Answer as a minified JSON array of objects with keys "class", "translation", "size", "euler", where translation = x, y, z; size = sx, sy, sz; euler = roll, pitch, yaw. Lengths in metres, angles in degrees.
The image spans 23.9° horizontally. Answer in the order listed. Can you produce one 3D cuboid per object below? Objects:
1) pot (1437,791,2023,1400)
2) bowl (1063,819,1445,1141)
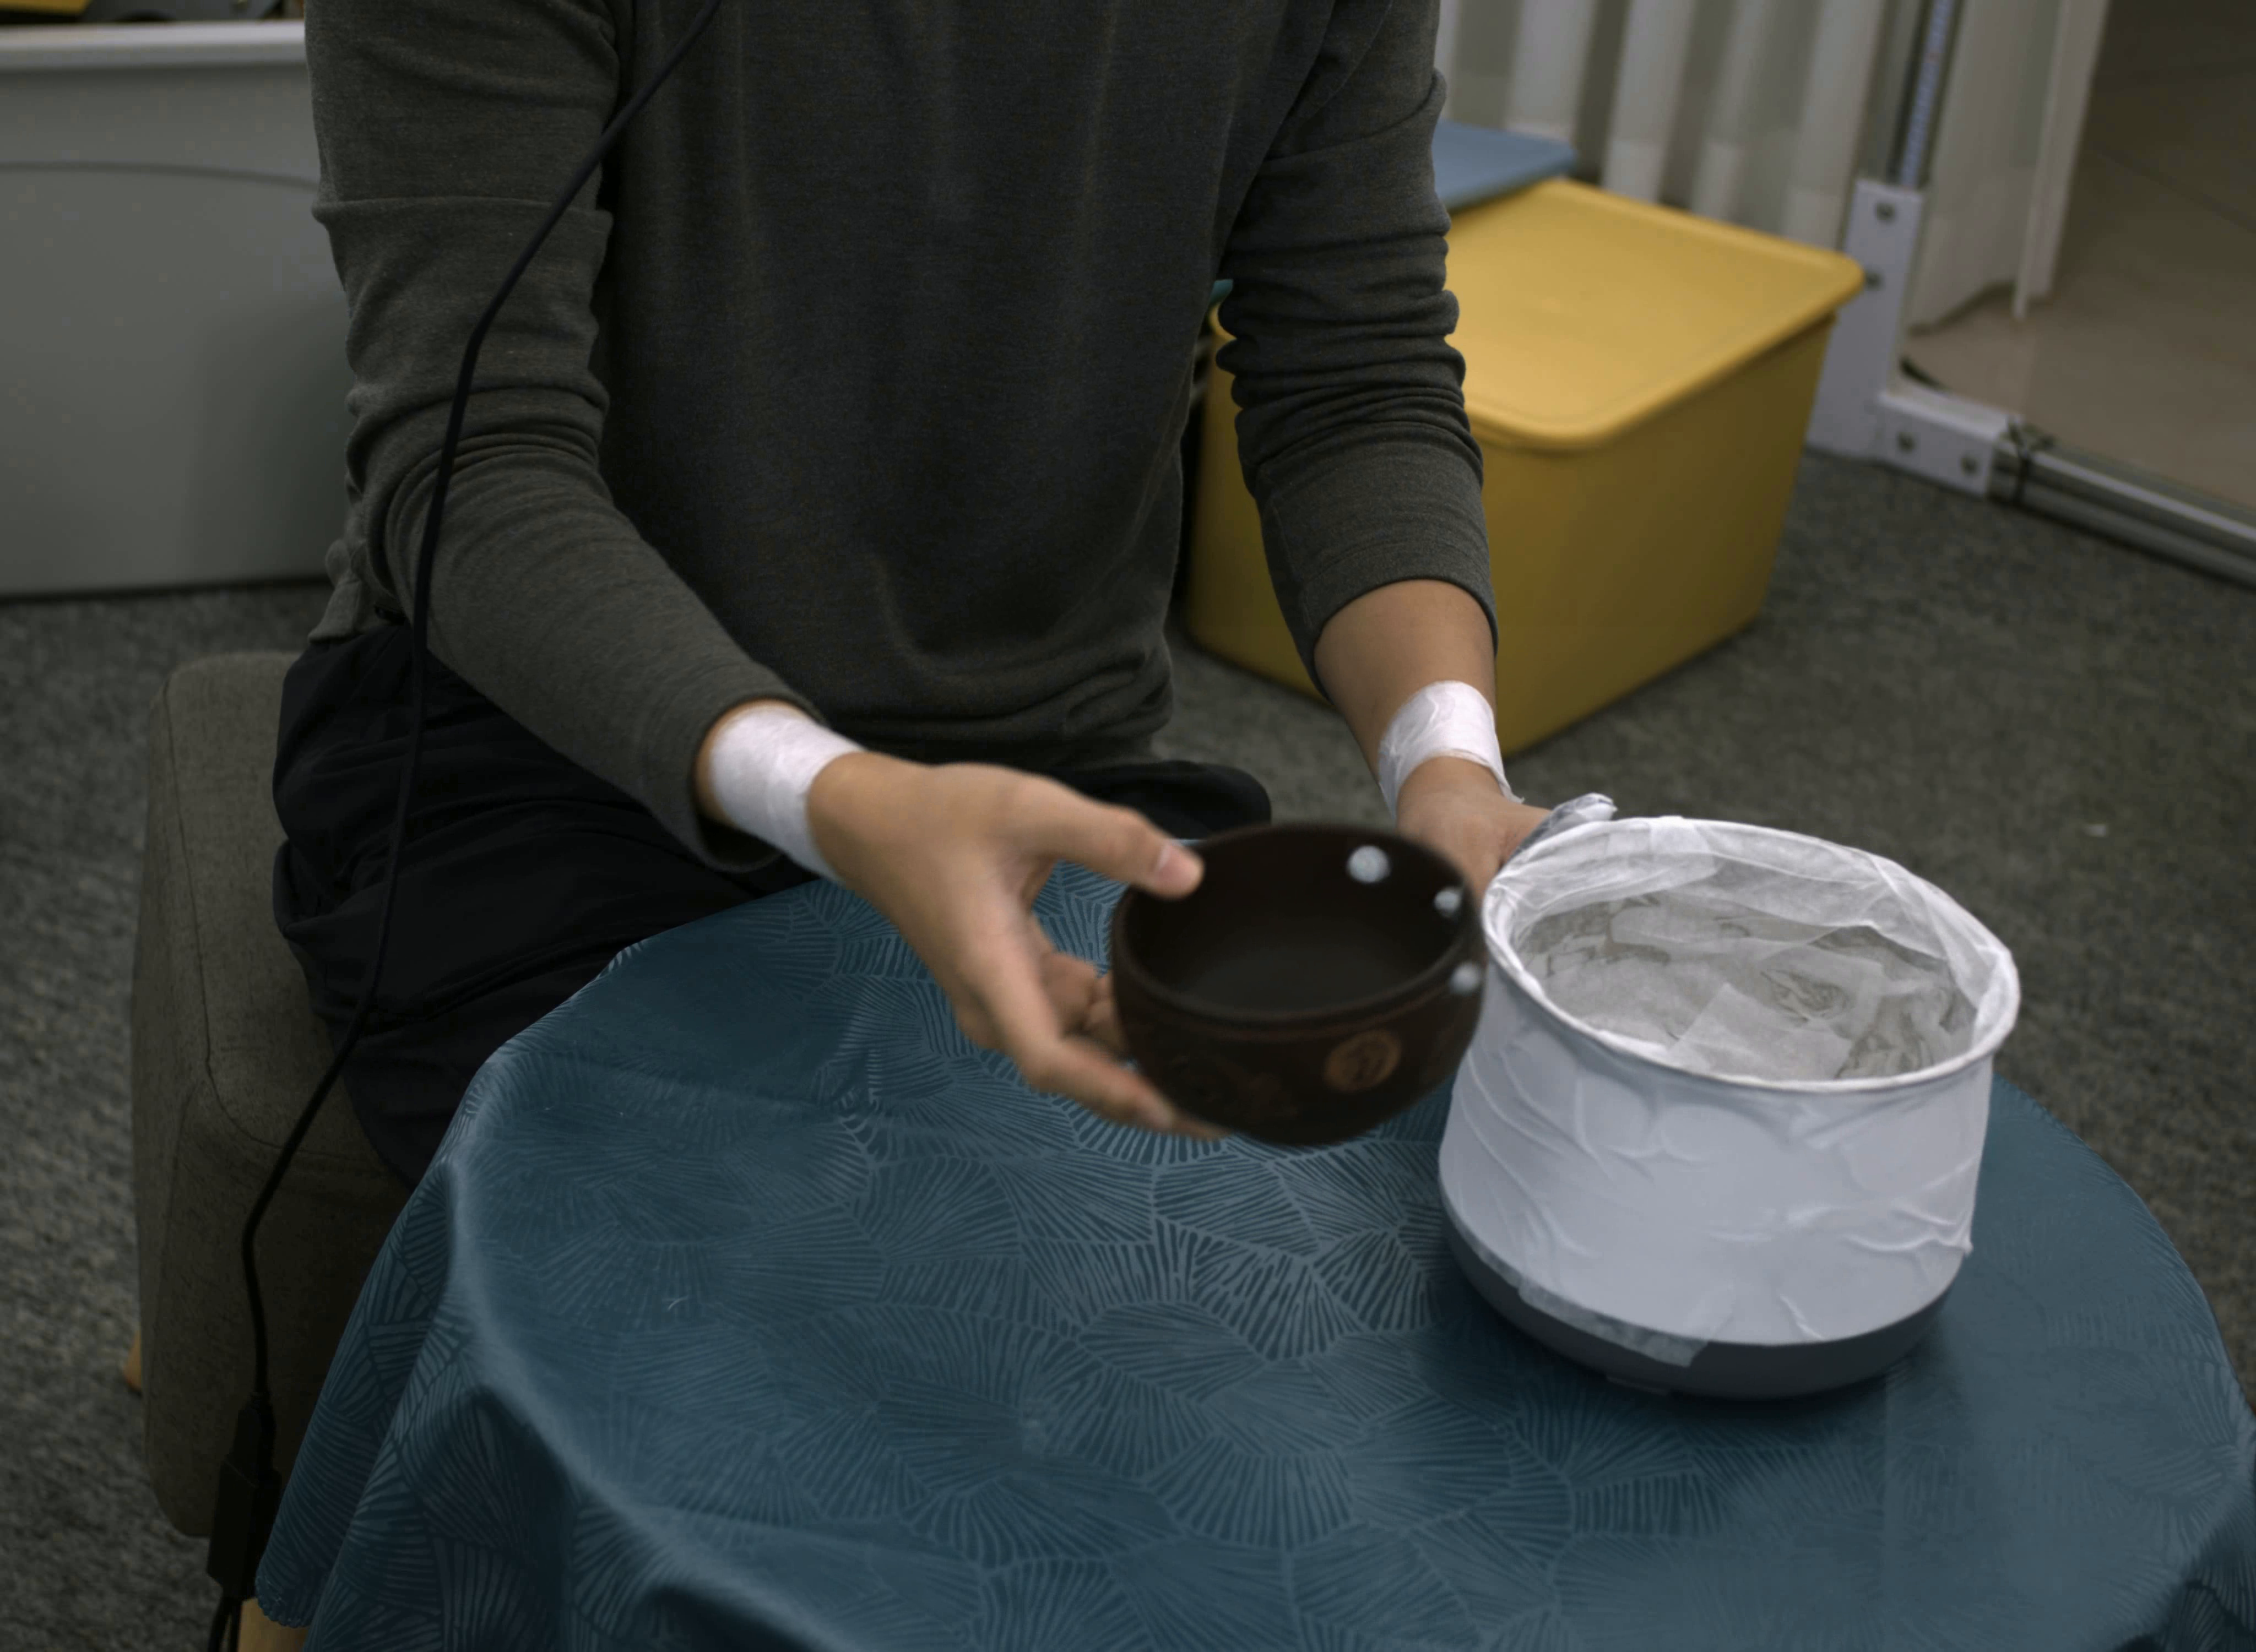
[{"class":"pot","translation":[0.181,0.082,1.775],"size":[0.177,0.136,0.236],"euler":[-8,31,-28]},{"class":"bowl","translation":[0.042,0.054,1.650],"size":[0.118,0.069,0.118],"euler":[-9,25,4]}]
